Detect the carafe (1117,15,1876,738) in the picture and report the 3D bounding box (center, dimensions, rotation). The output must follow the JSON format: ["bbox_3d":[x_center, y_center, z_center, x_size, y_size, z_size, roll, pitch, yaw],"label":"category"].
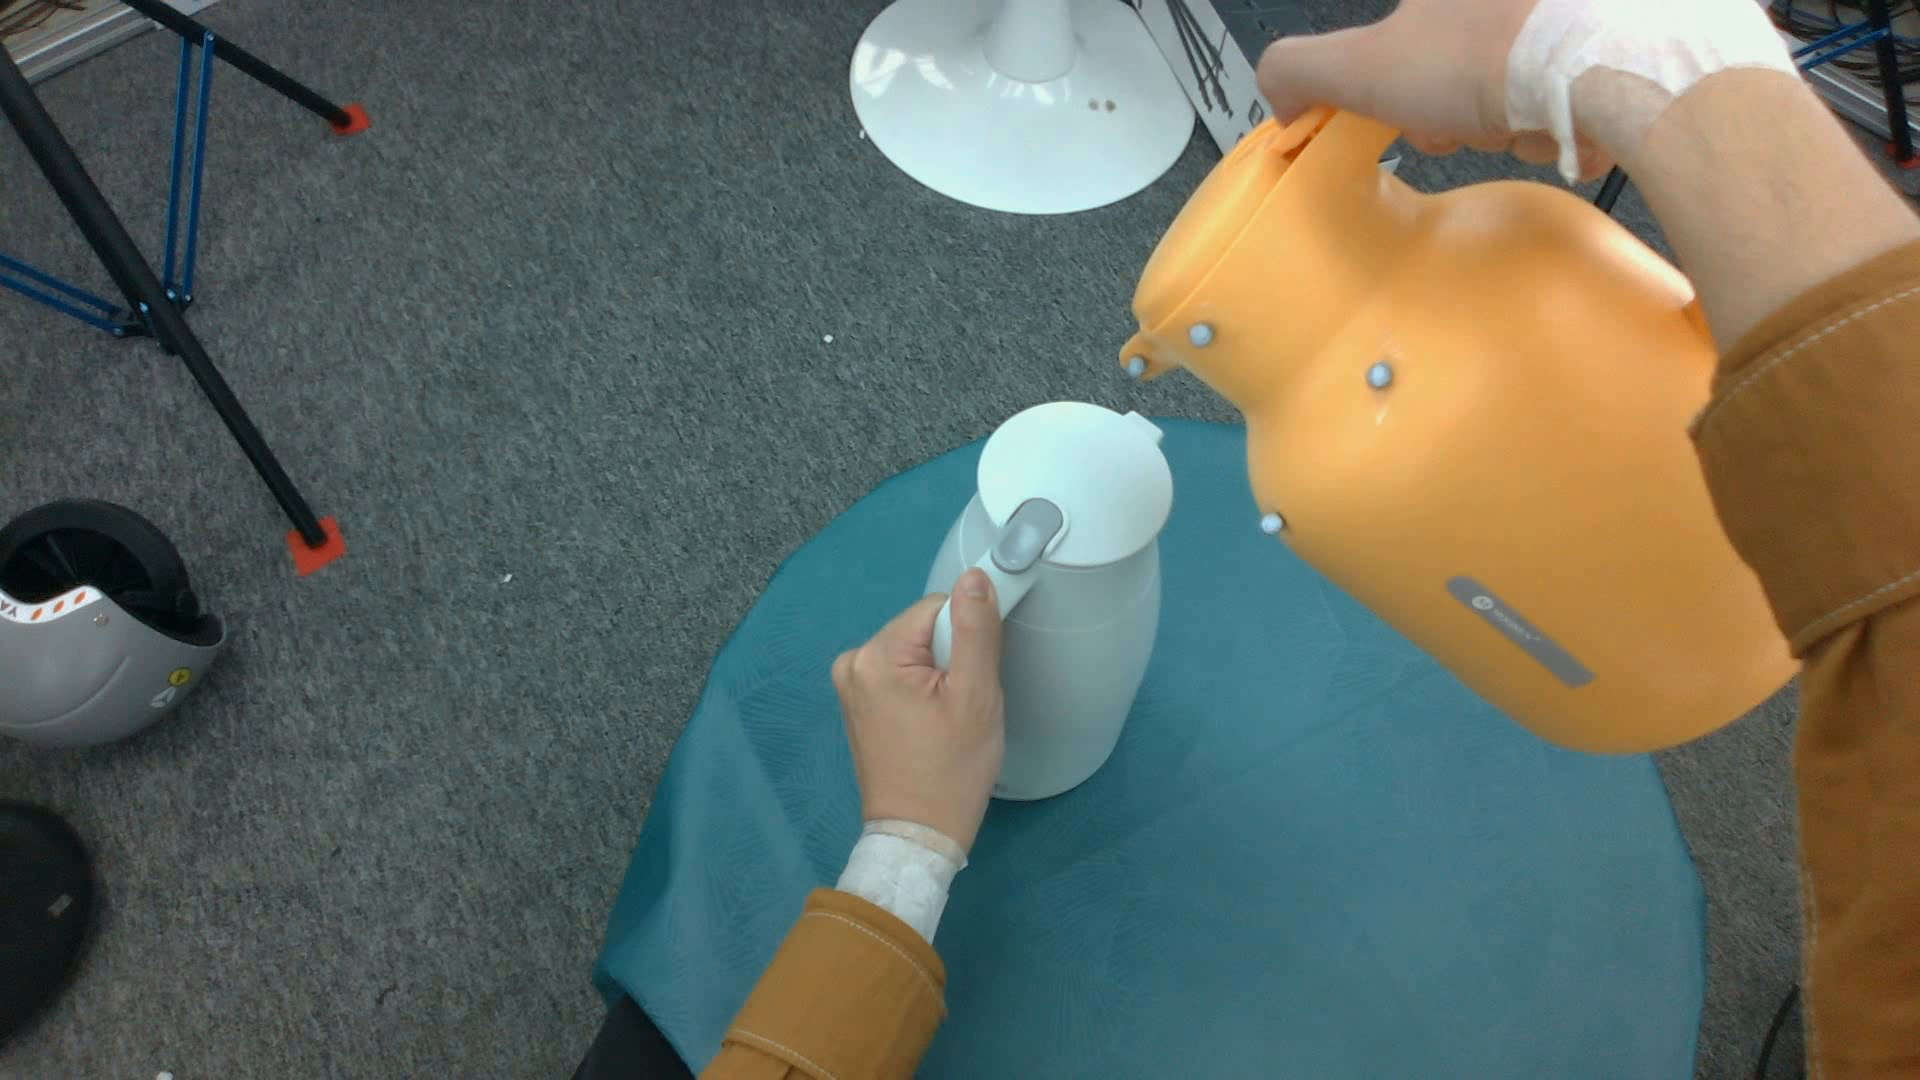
[{"bbox_3d":[0.195,-0.060,0.499,0.260,0.201,0.164,34,53,-6],"label":"carafe"}]

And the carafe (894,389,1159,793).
[{"bbox_3d":[0.027,0.040,0.723,0.132,0.247,0.168,36,62,16],"label":"carafe"}]
